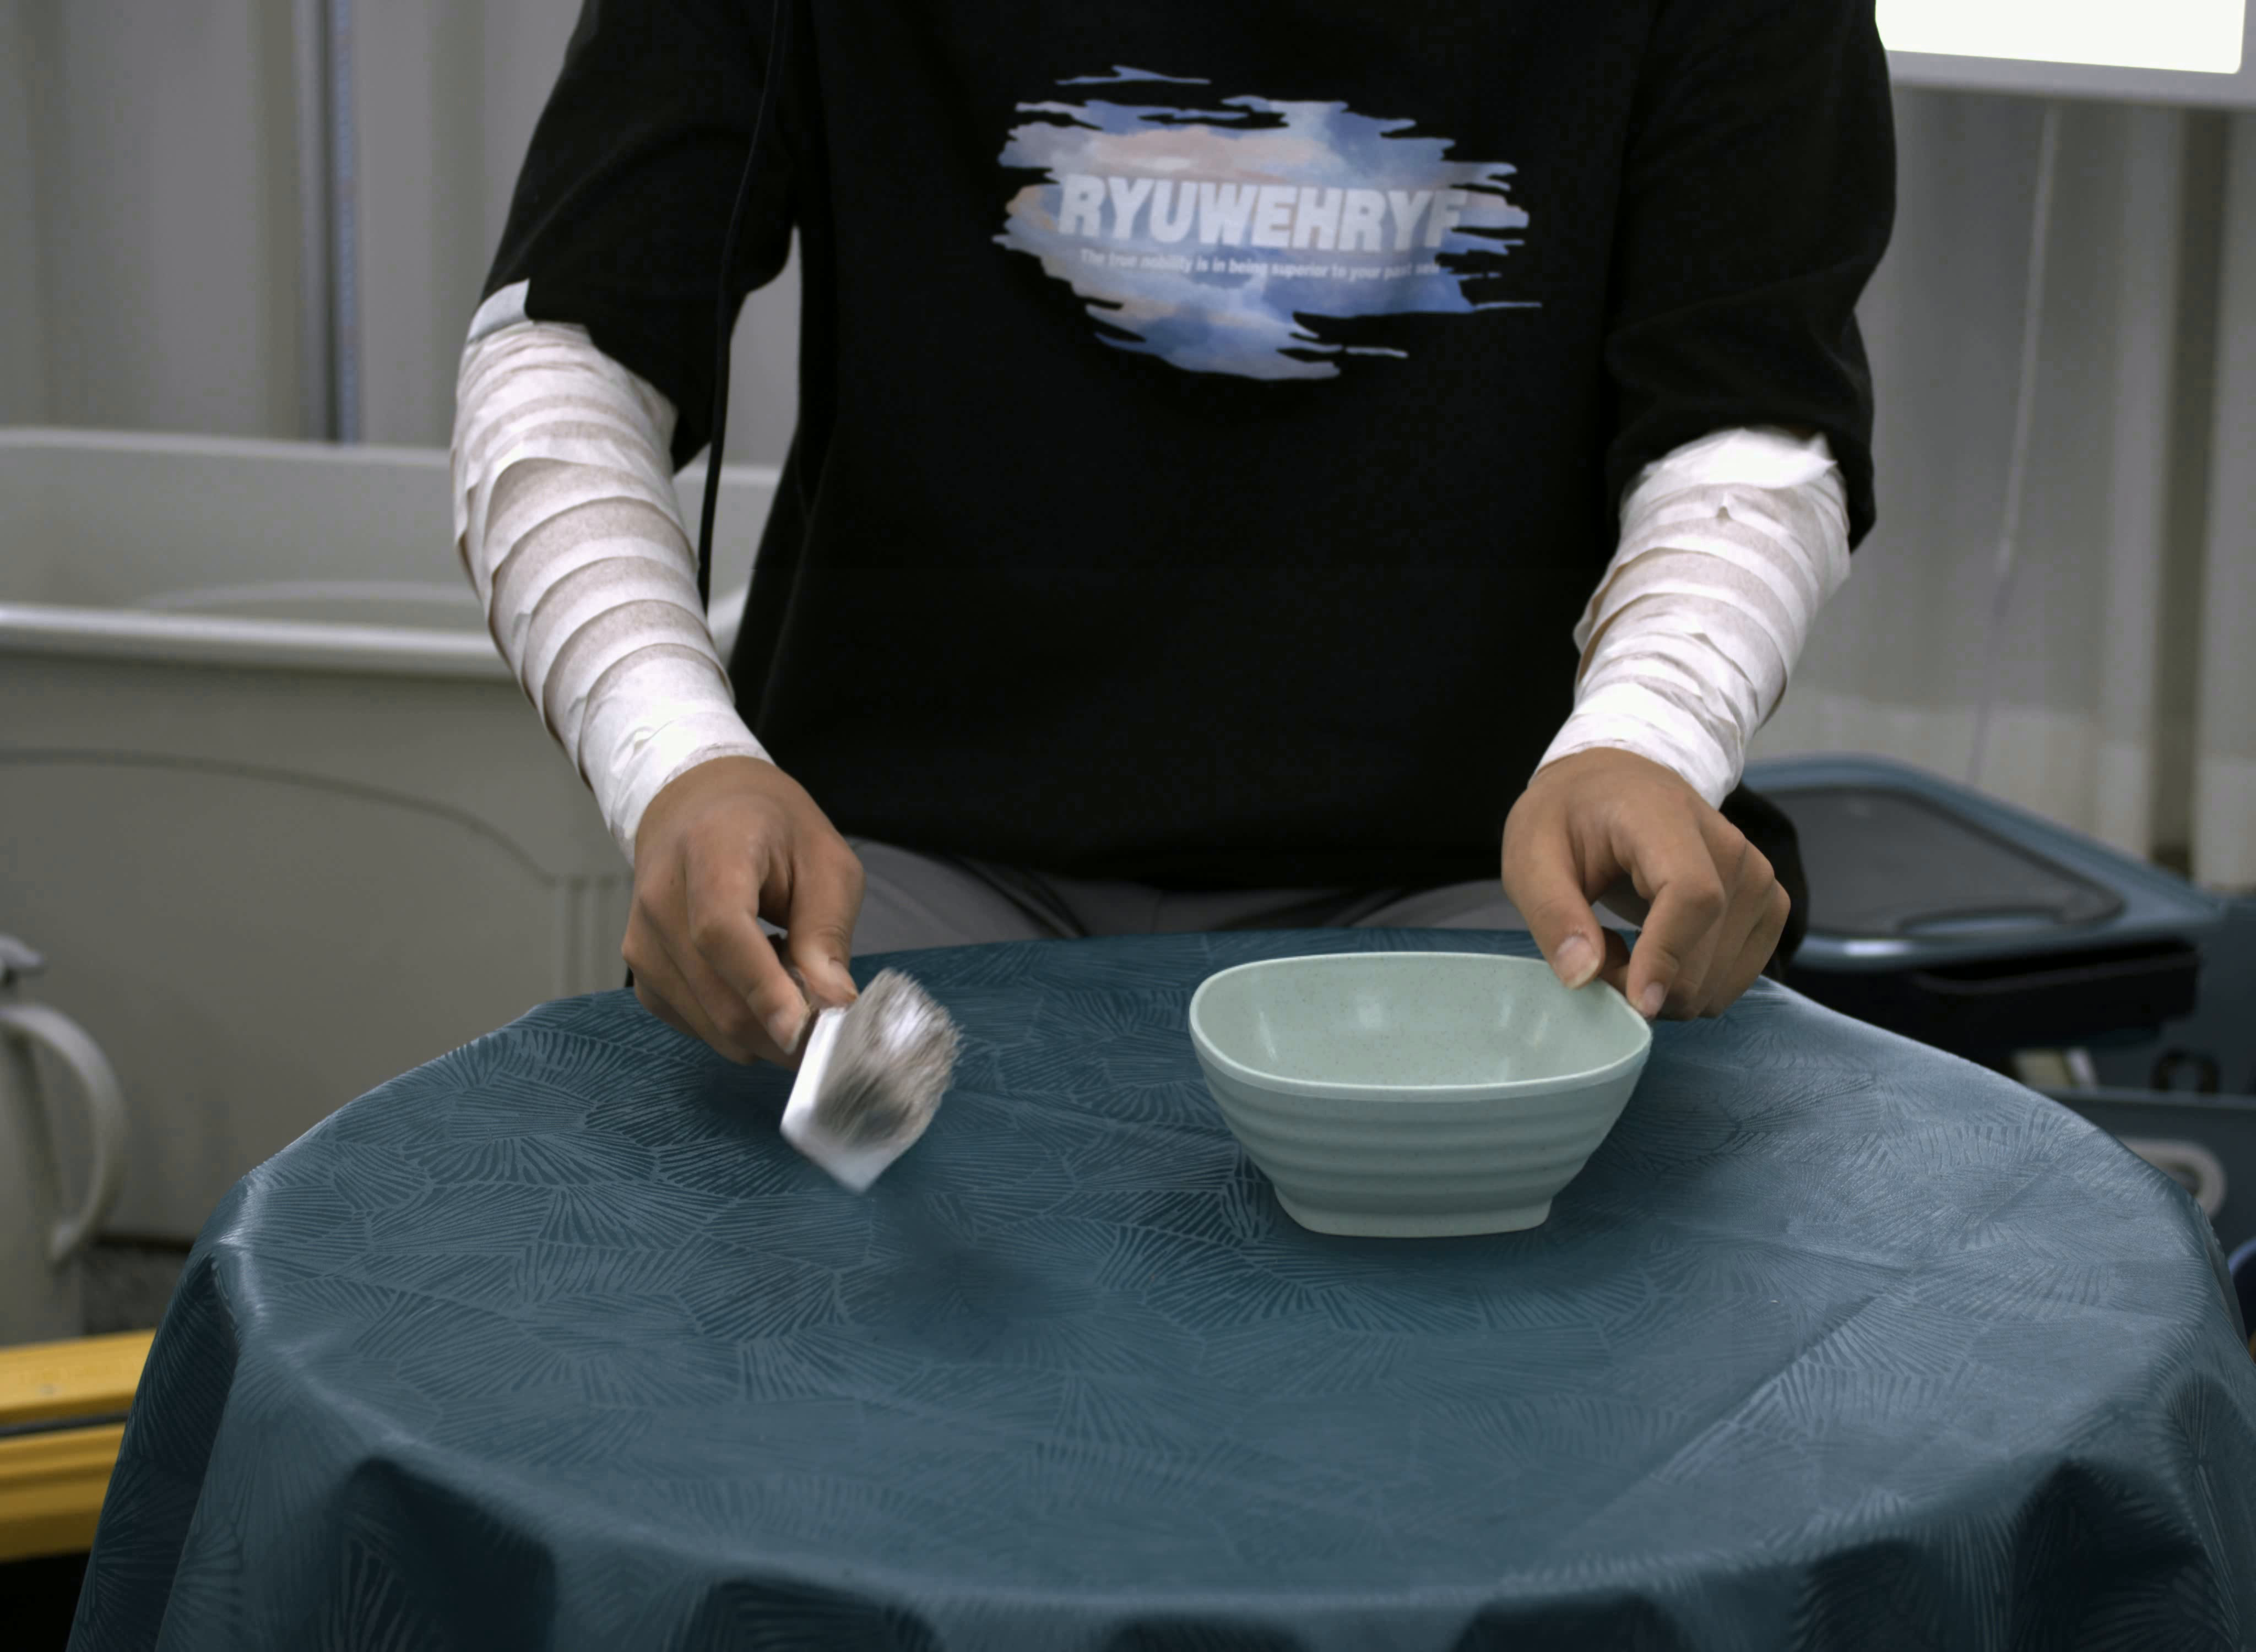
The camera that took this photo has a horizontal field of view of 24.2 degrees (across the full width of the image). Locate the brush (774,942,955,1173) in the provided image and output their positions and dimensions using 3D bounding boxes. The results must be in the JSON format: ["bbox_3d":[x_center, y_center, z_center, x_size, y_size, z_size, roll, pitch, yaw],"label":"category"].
[{"bbox_3d":[-0.079,0.053,1.612,0.034,0.050,0.242,41,7,-9],"label":"brush"}]

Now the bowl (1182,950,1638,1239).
[{"bbox_3d":[0.085,0.086,1.618,0.151,0.059,0.150,2,16,0],"label":"bowl"}]
